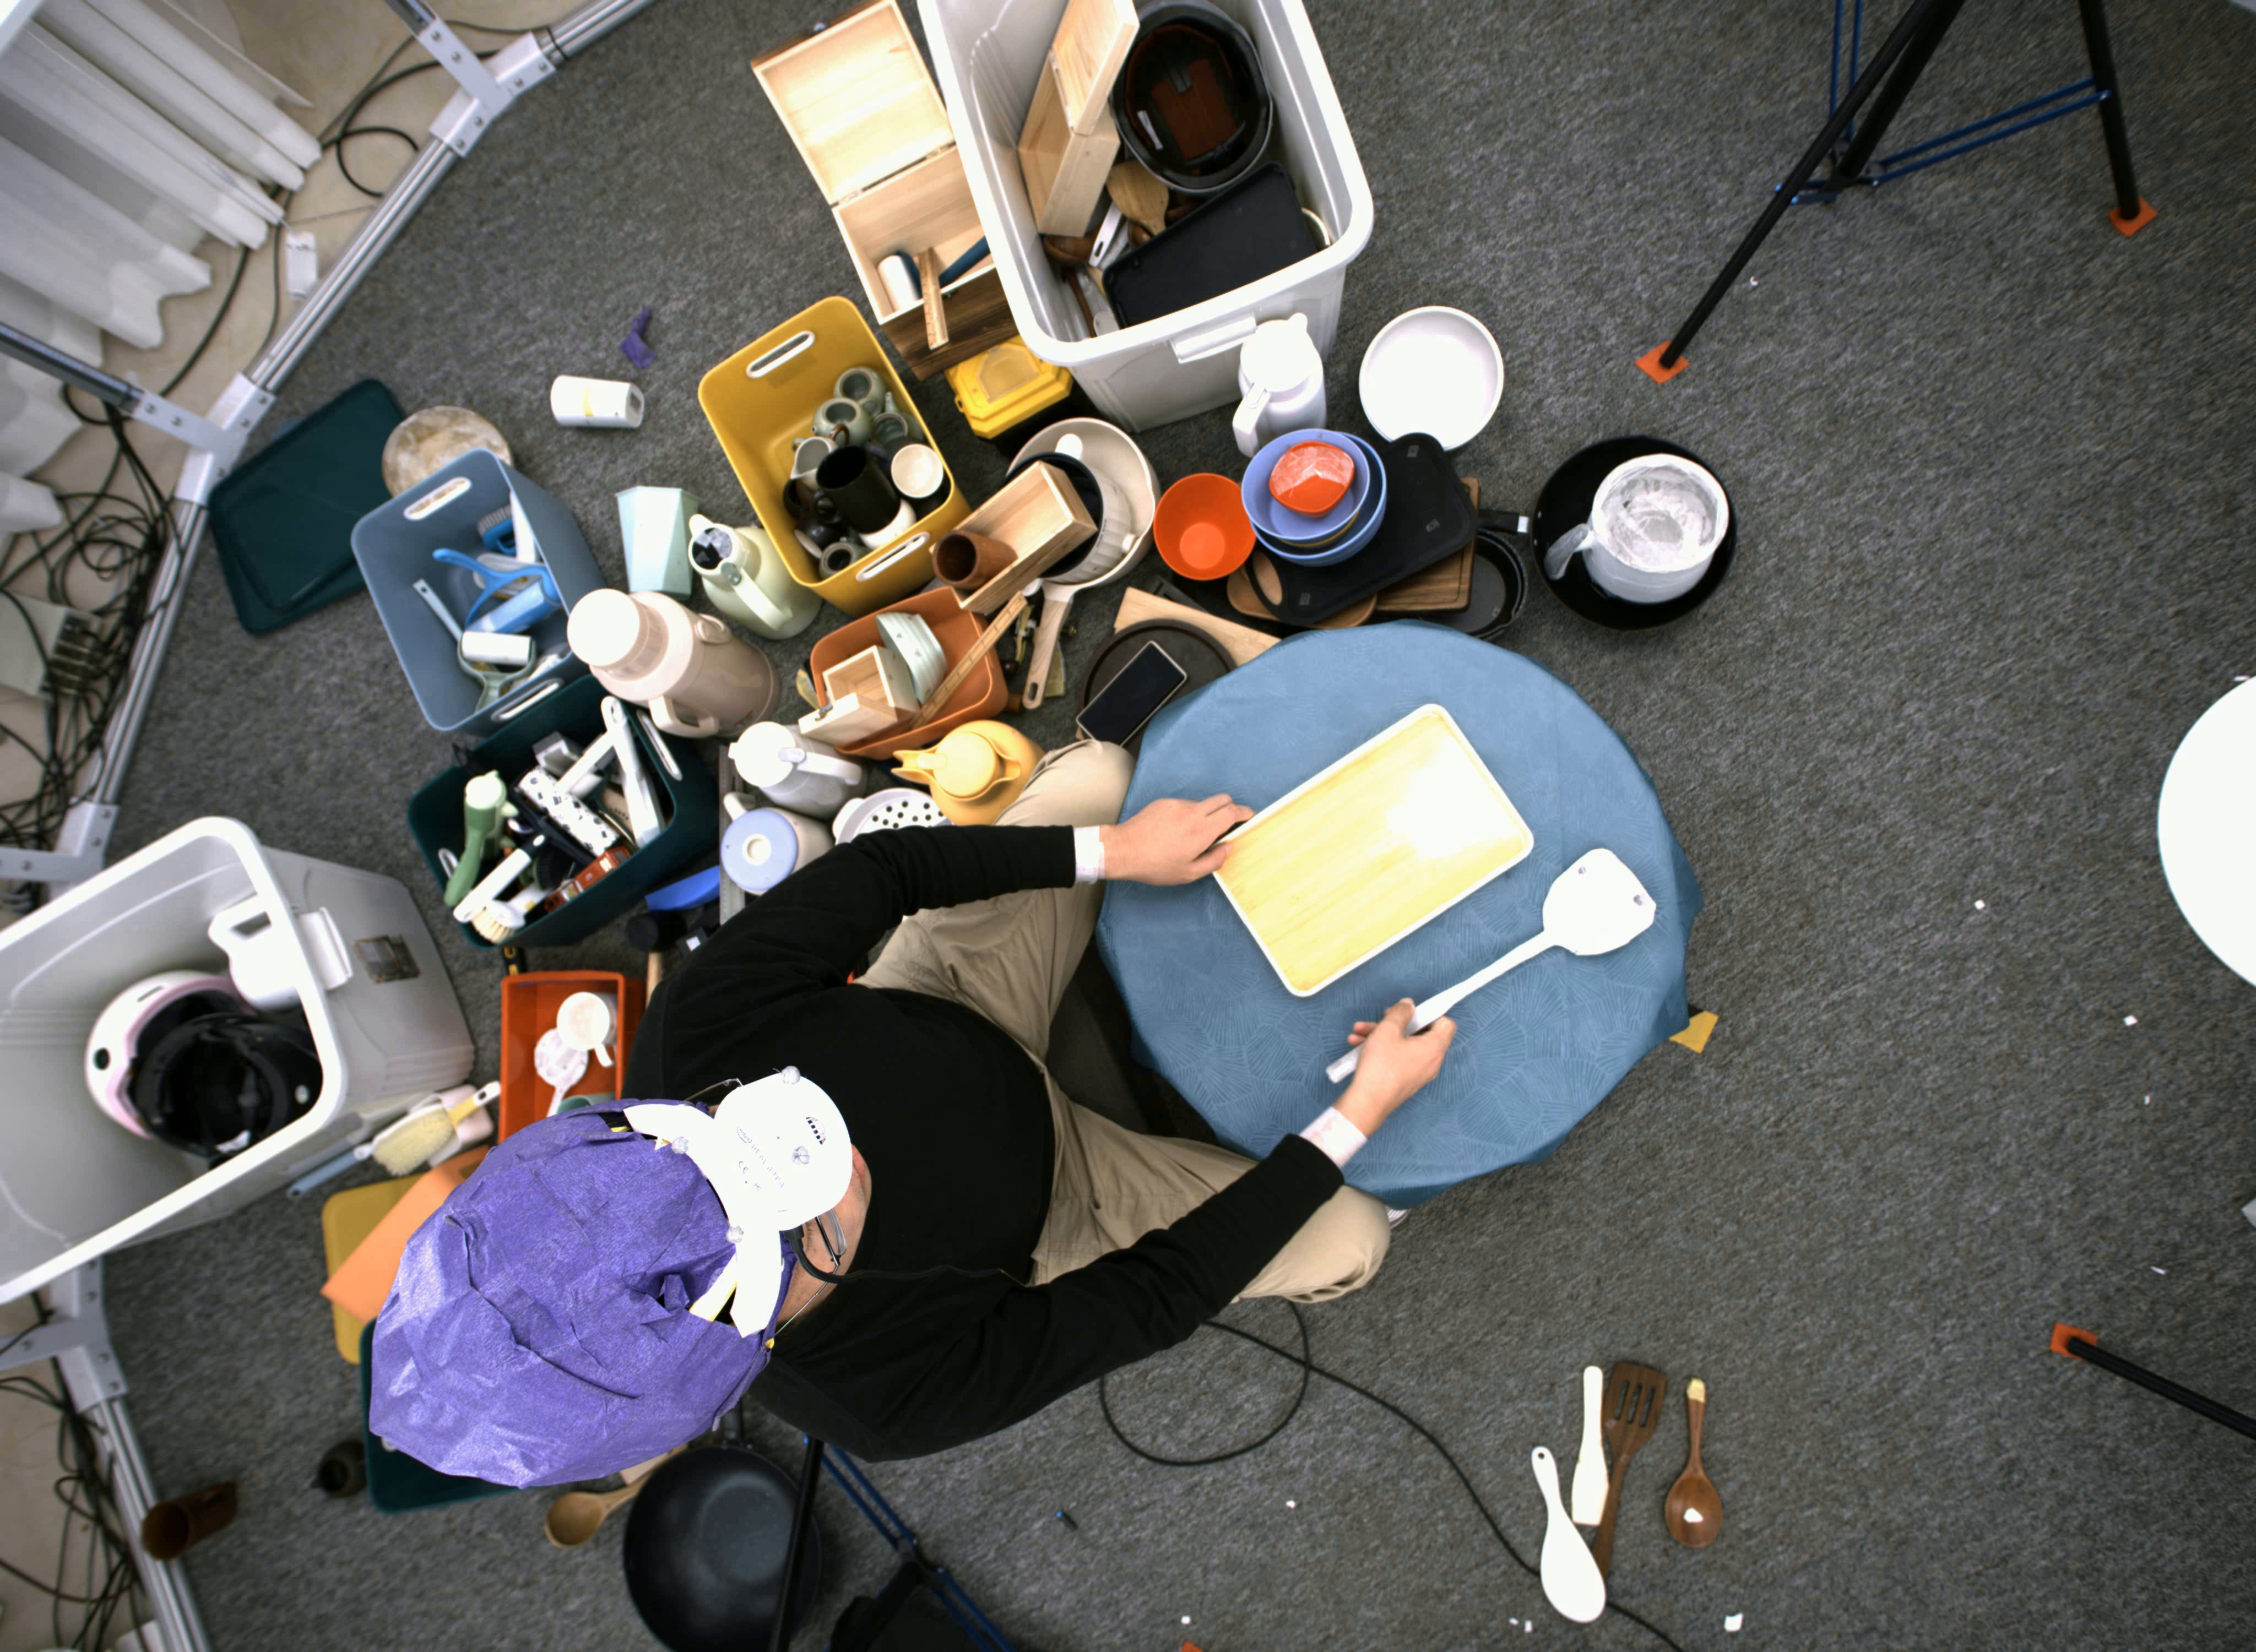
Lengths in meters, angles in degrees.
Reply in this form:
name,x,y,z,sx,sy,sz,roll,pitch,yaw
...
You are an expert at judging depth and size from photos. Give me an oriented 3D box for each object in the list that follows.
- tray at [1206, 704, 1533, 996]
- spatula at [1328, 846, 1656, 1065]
name,x,y,z,sx,sy,sz,roll,pitch,yaw
tray,0.251,0.024,1.452,0.302,0.027,0.190,-33,82,7
spatula,0.364,0.145,1.401,0.365,0.045,0.097,-31,69,-1
